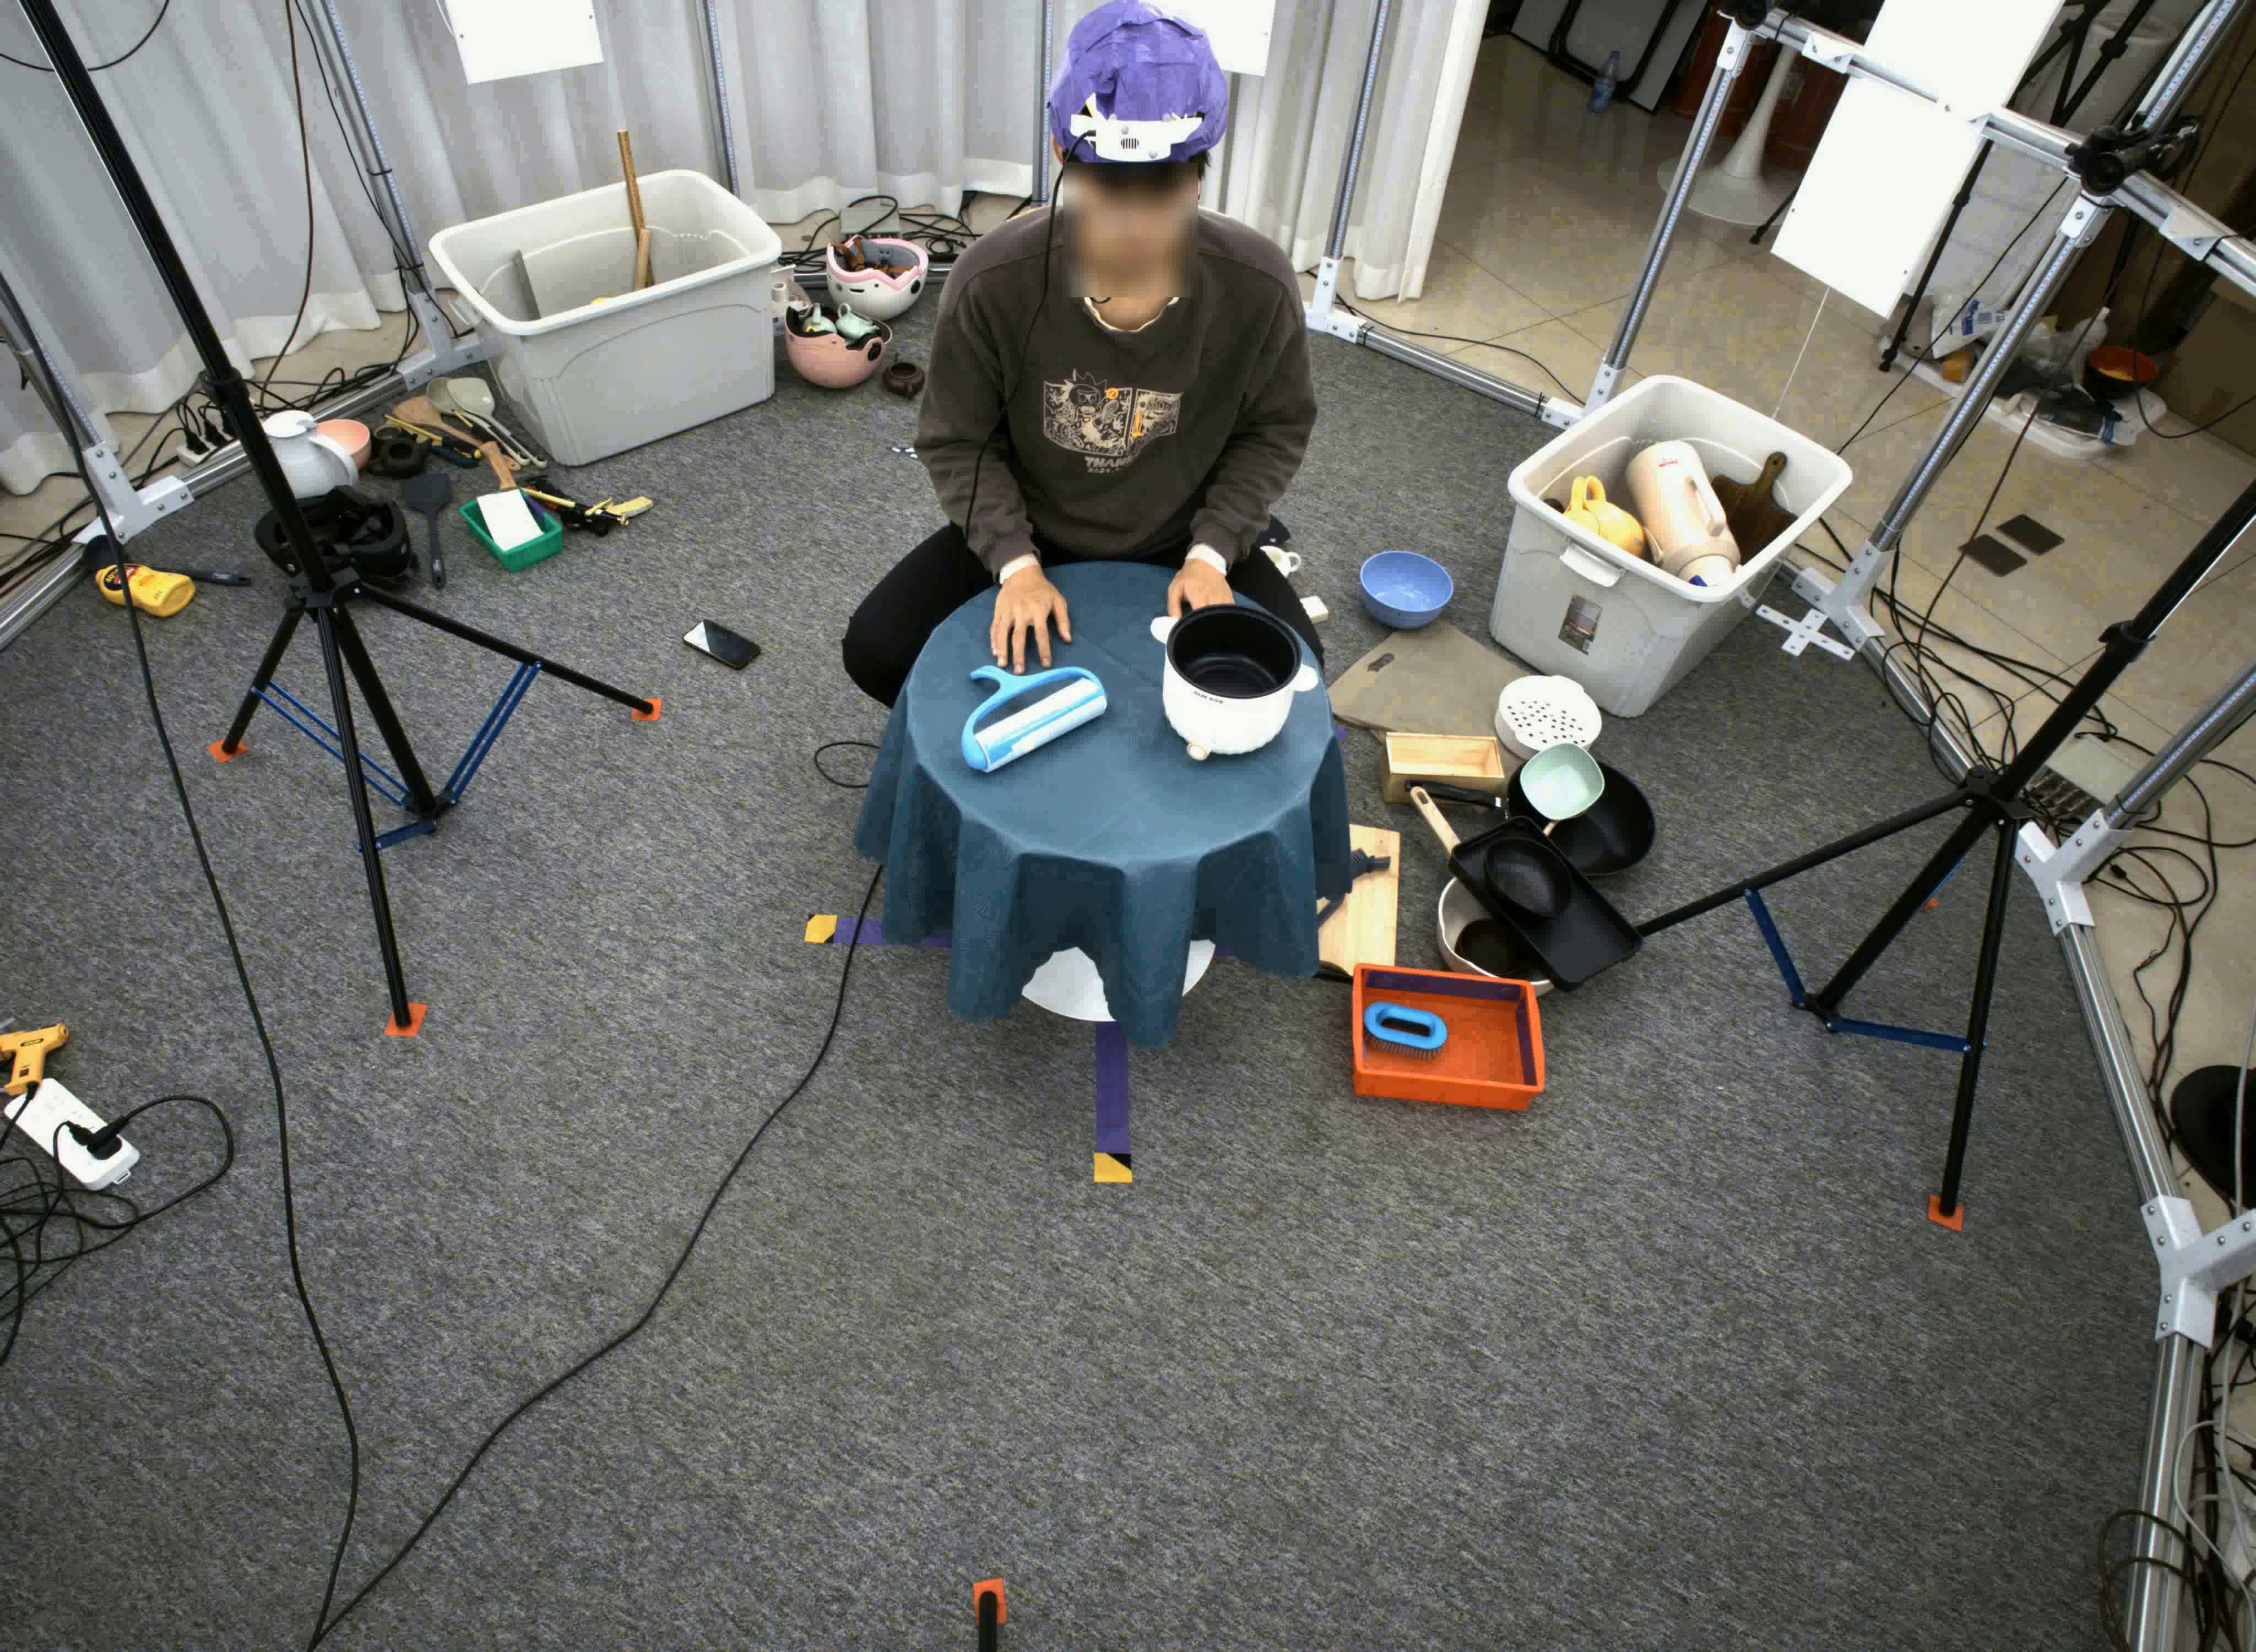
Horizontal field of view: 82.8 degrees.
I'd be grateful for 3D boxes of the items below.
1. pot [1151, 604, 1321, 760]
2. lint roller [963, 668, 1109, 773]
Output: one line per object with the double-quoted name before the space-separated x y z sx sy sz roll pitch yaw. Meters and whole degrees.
"pot" 0.137 -0.189 1.749 0.242 0.139 0.194 20 48 15
"lint roller" -0.159 -0.175 1.771 0.230 0.066 0.183 -32 59 -26
